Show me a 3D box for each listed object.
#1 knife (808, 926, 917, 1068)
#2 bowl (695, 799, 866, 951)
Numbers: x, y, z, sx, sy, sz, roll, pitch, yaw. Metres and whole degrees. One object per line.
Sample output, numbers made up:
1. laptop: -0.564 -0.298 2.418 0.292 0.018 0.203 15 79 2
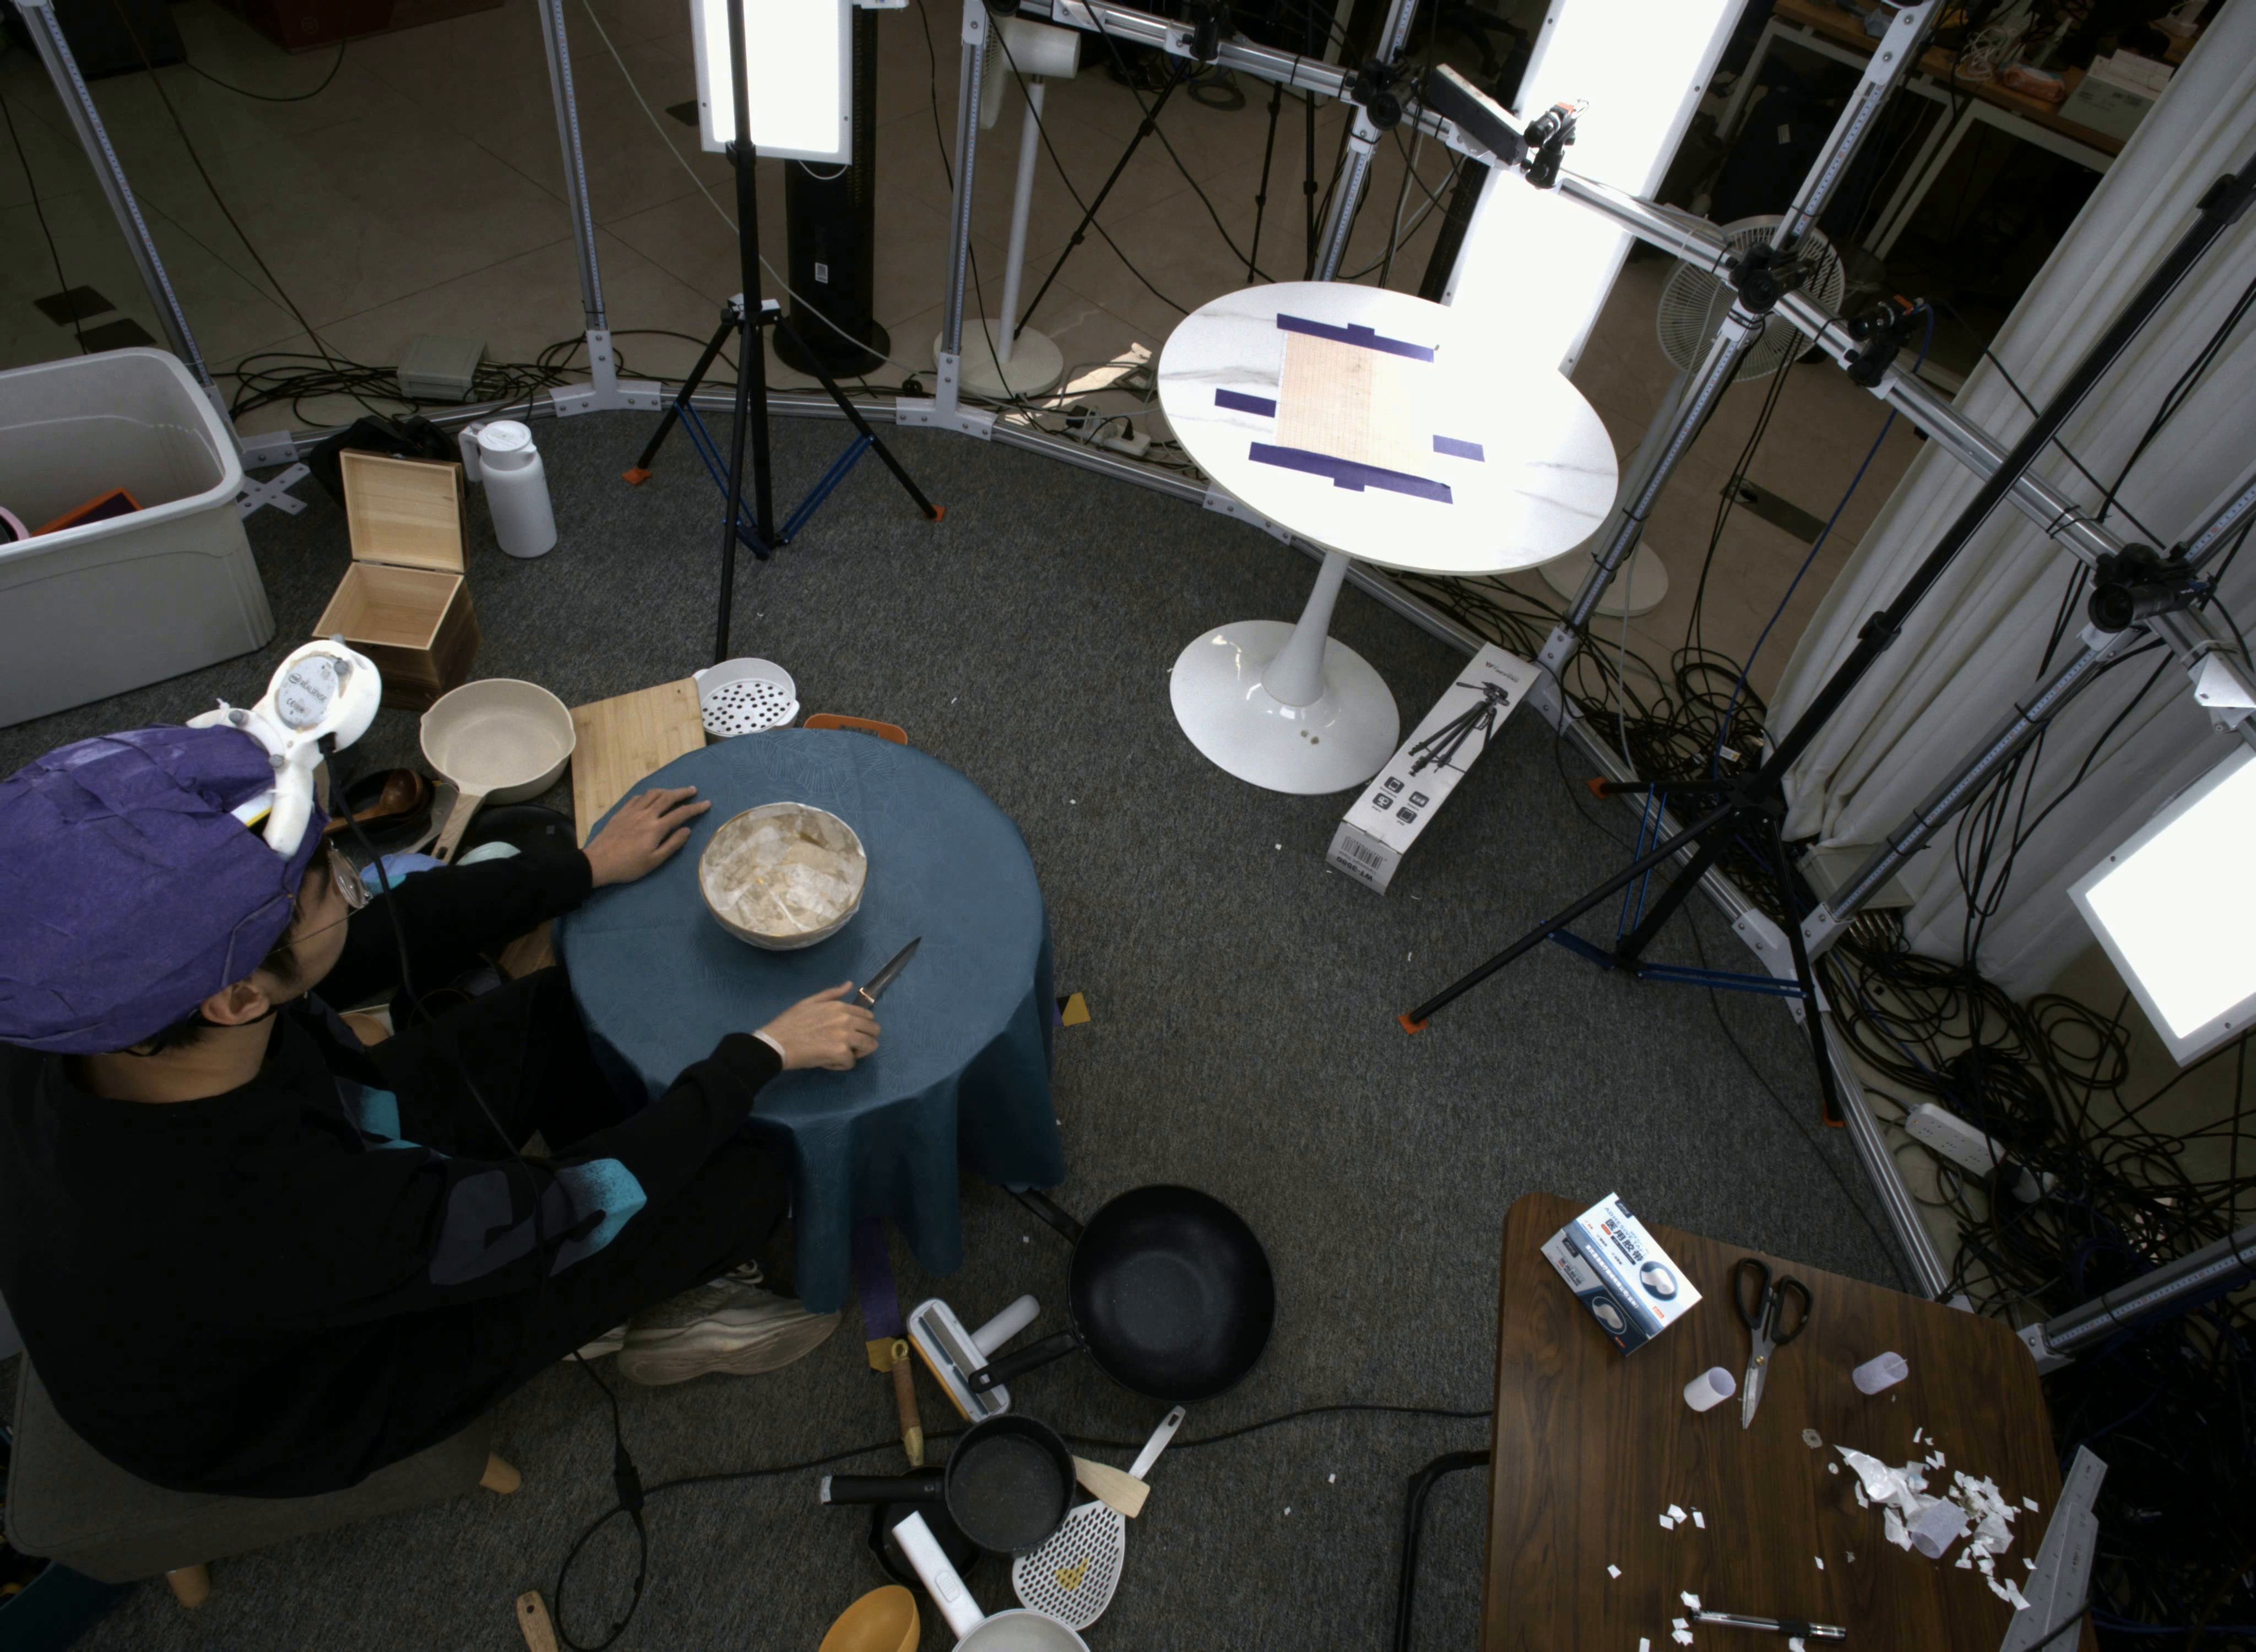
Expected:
1. knife: -0.317 0.202 1.577 0.027 0.017 0.224 54 50 -22
2. bowl: -0.428 0.075 1.594 0.214 0.096 0.211 9 53 -10
